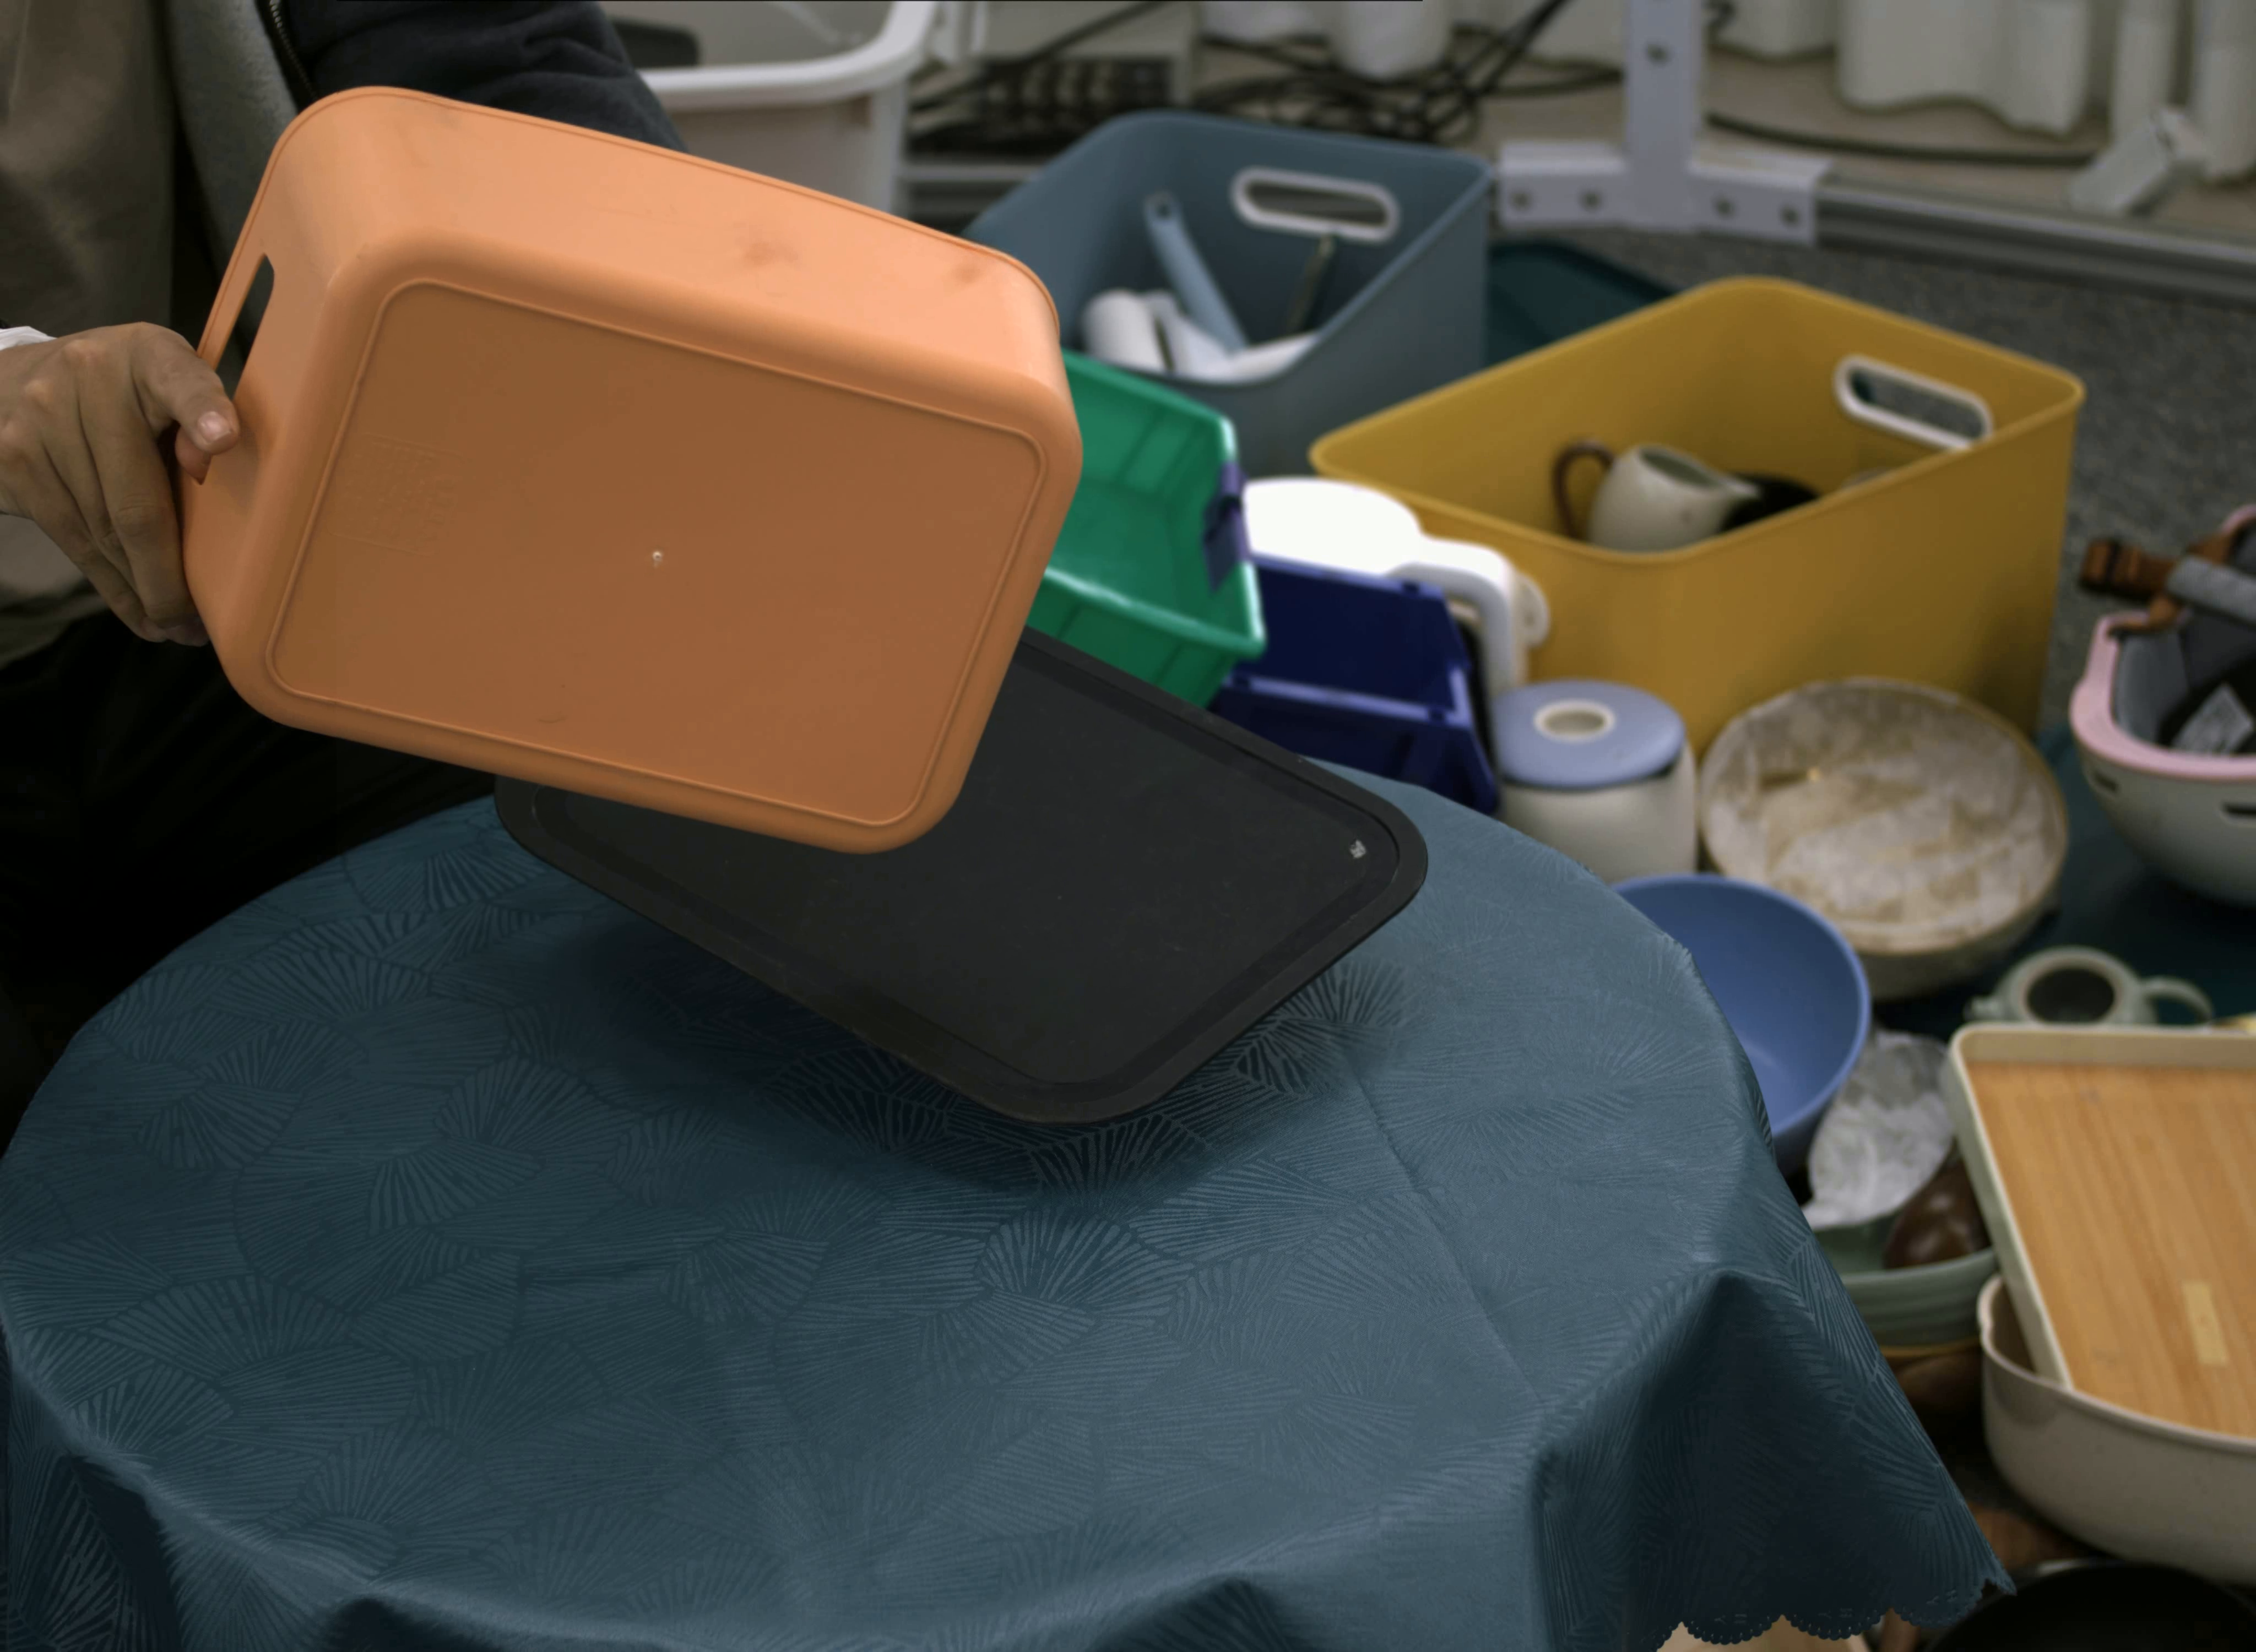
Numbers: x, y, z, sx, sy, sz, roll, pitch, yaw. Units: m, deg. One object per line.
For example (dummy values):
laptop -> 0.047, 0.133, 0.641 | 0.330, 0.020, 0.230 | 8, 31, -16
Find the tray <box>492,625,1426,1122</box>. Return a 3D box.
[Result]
tray -> -0.068, -0.003, 1.977 | 0.325, 0.009, 0.214 | 26, 46, 32

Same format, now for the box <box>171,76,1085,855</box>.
box -> -0.156, -0.105, 1.787 | 0.272, 0.197, 0.104 | 14, 22, -20
